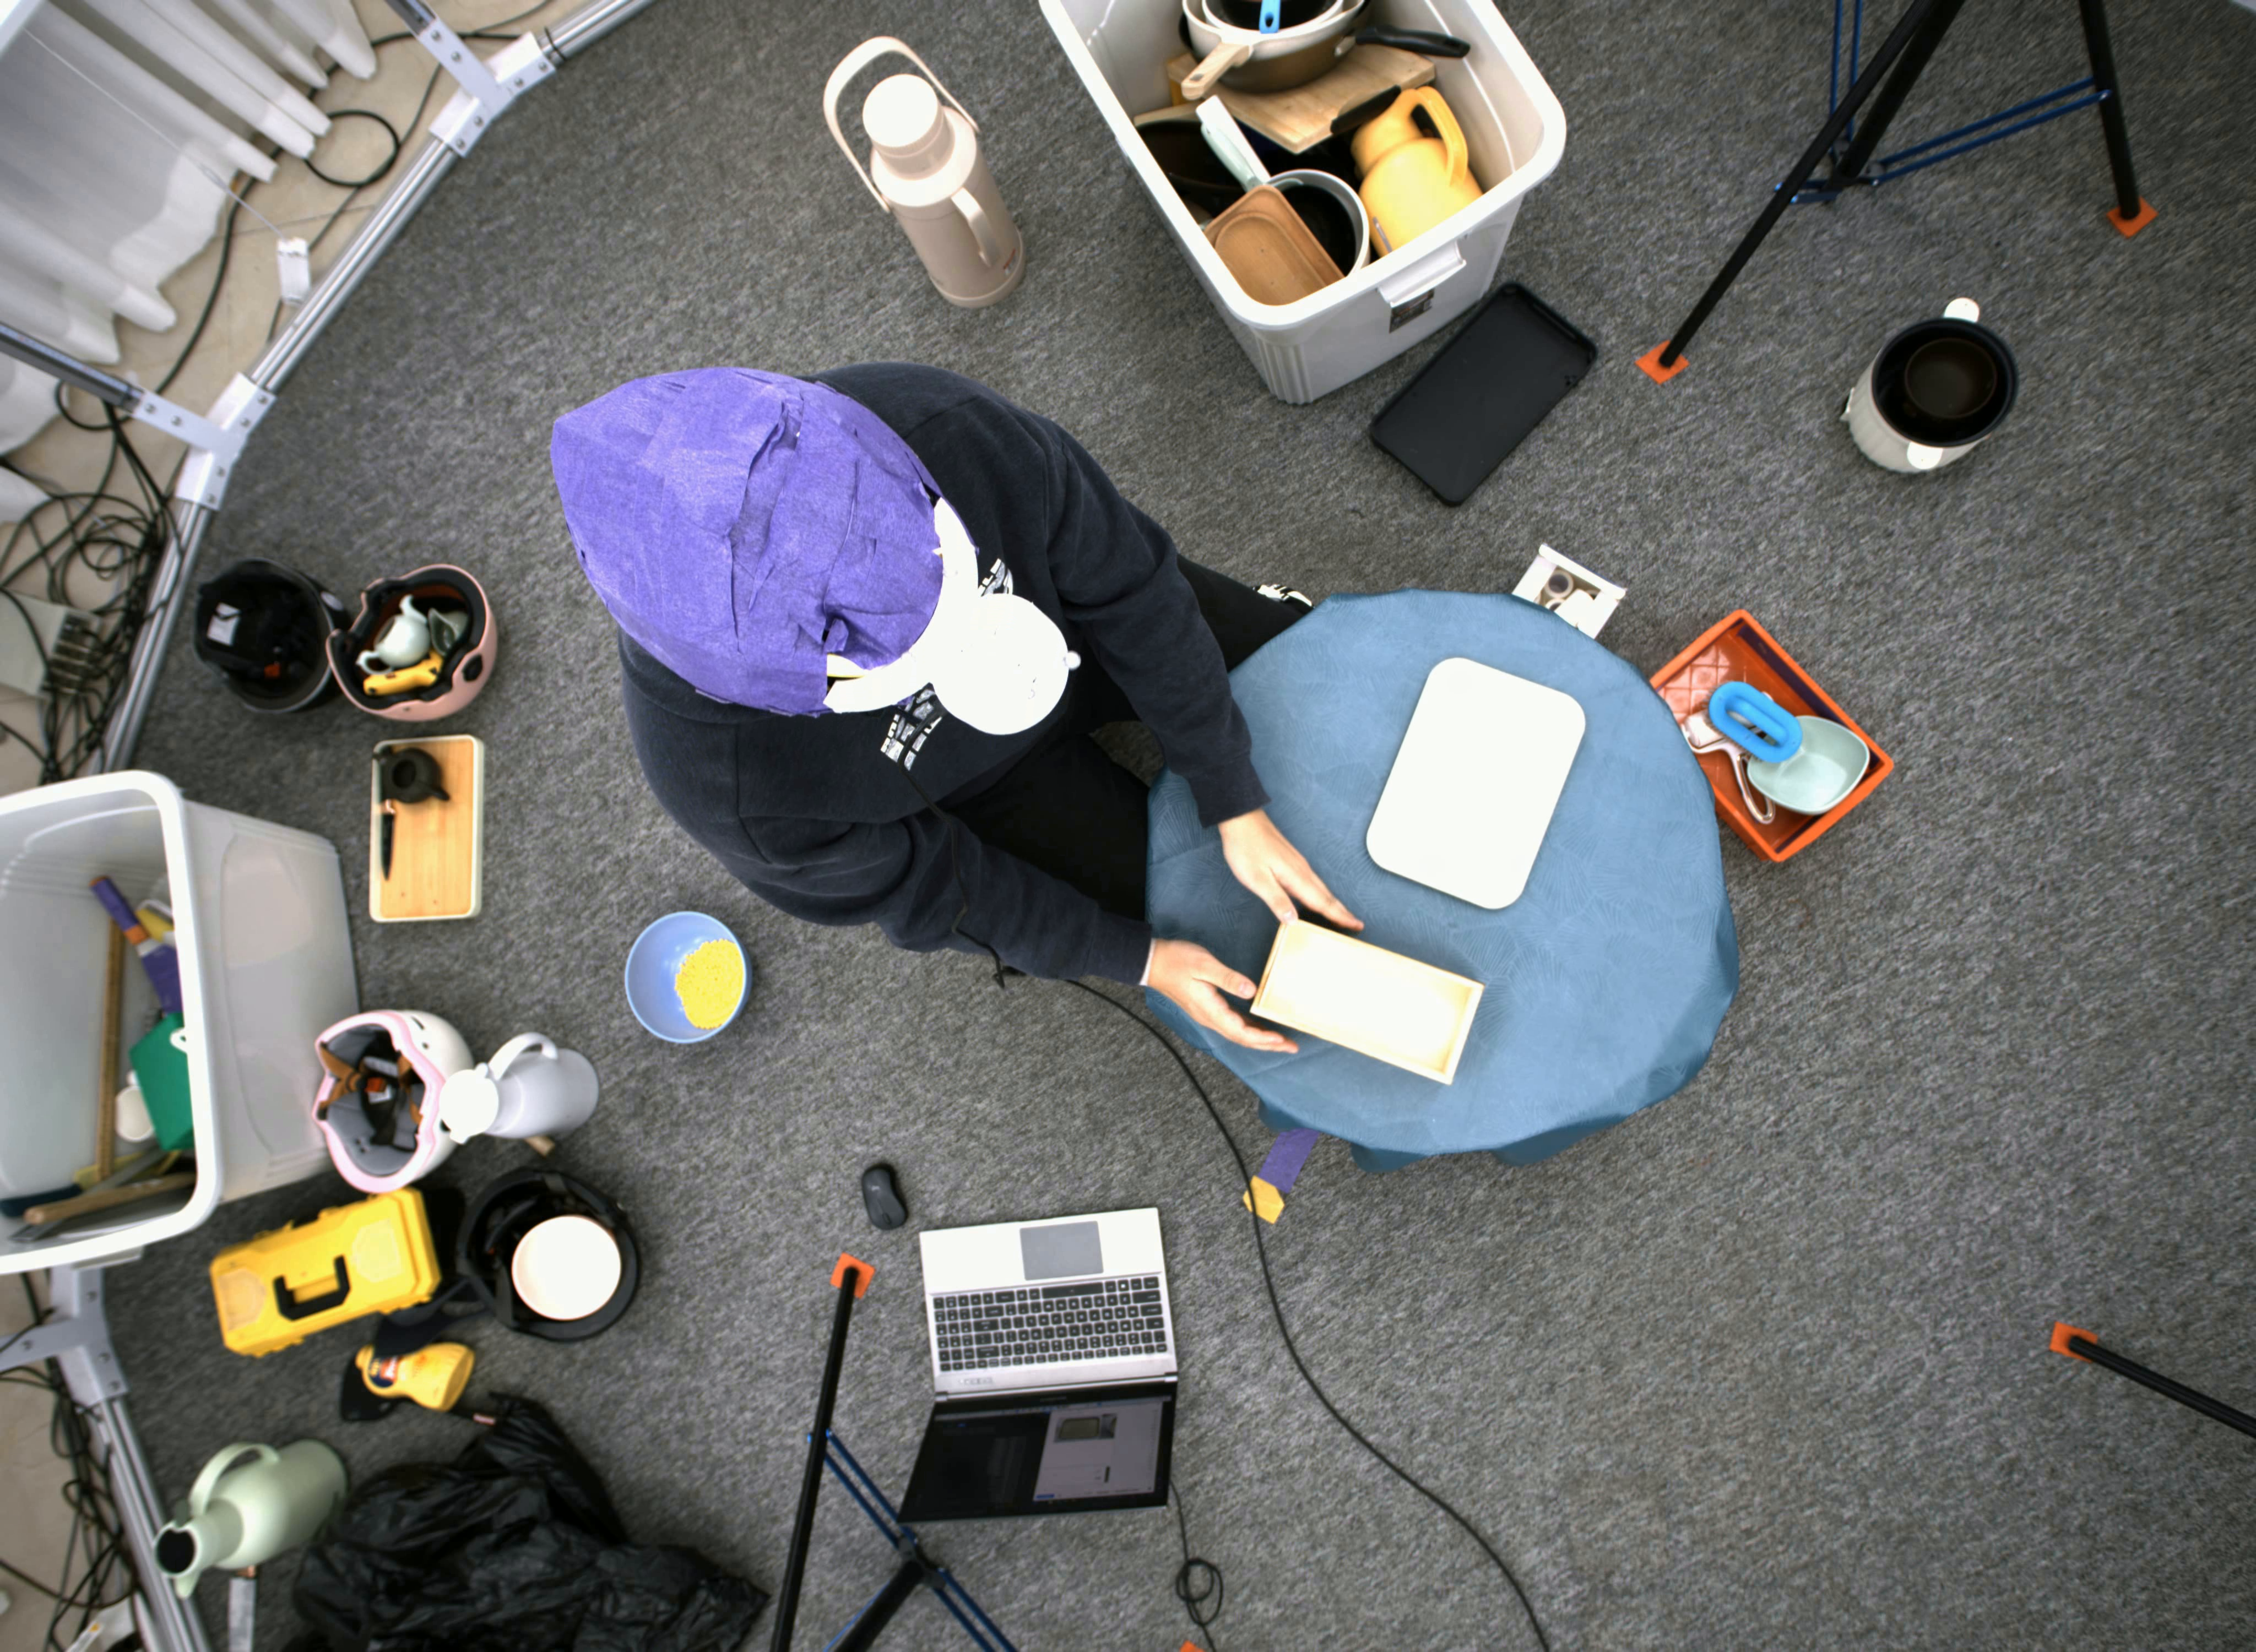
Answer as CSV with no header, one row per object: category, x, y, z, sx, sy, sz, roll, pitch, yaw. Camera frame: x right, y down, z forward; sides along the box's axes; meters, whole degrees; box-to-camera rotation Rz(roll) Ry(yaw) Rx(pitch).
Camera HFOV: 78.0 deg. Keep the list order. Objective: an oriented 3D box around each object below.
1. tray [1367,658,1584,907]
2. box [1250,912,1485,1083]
tray,0.364,-0.048,1.441,0.171,0.017,0.239,22,91,12
box,0.244,0.174,1.419,0.211,0.080,0.107,19,89,11
